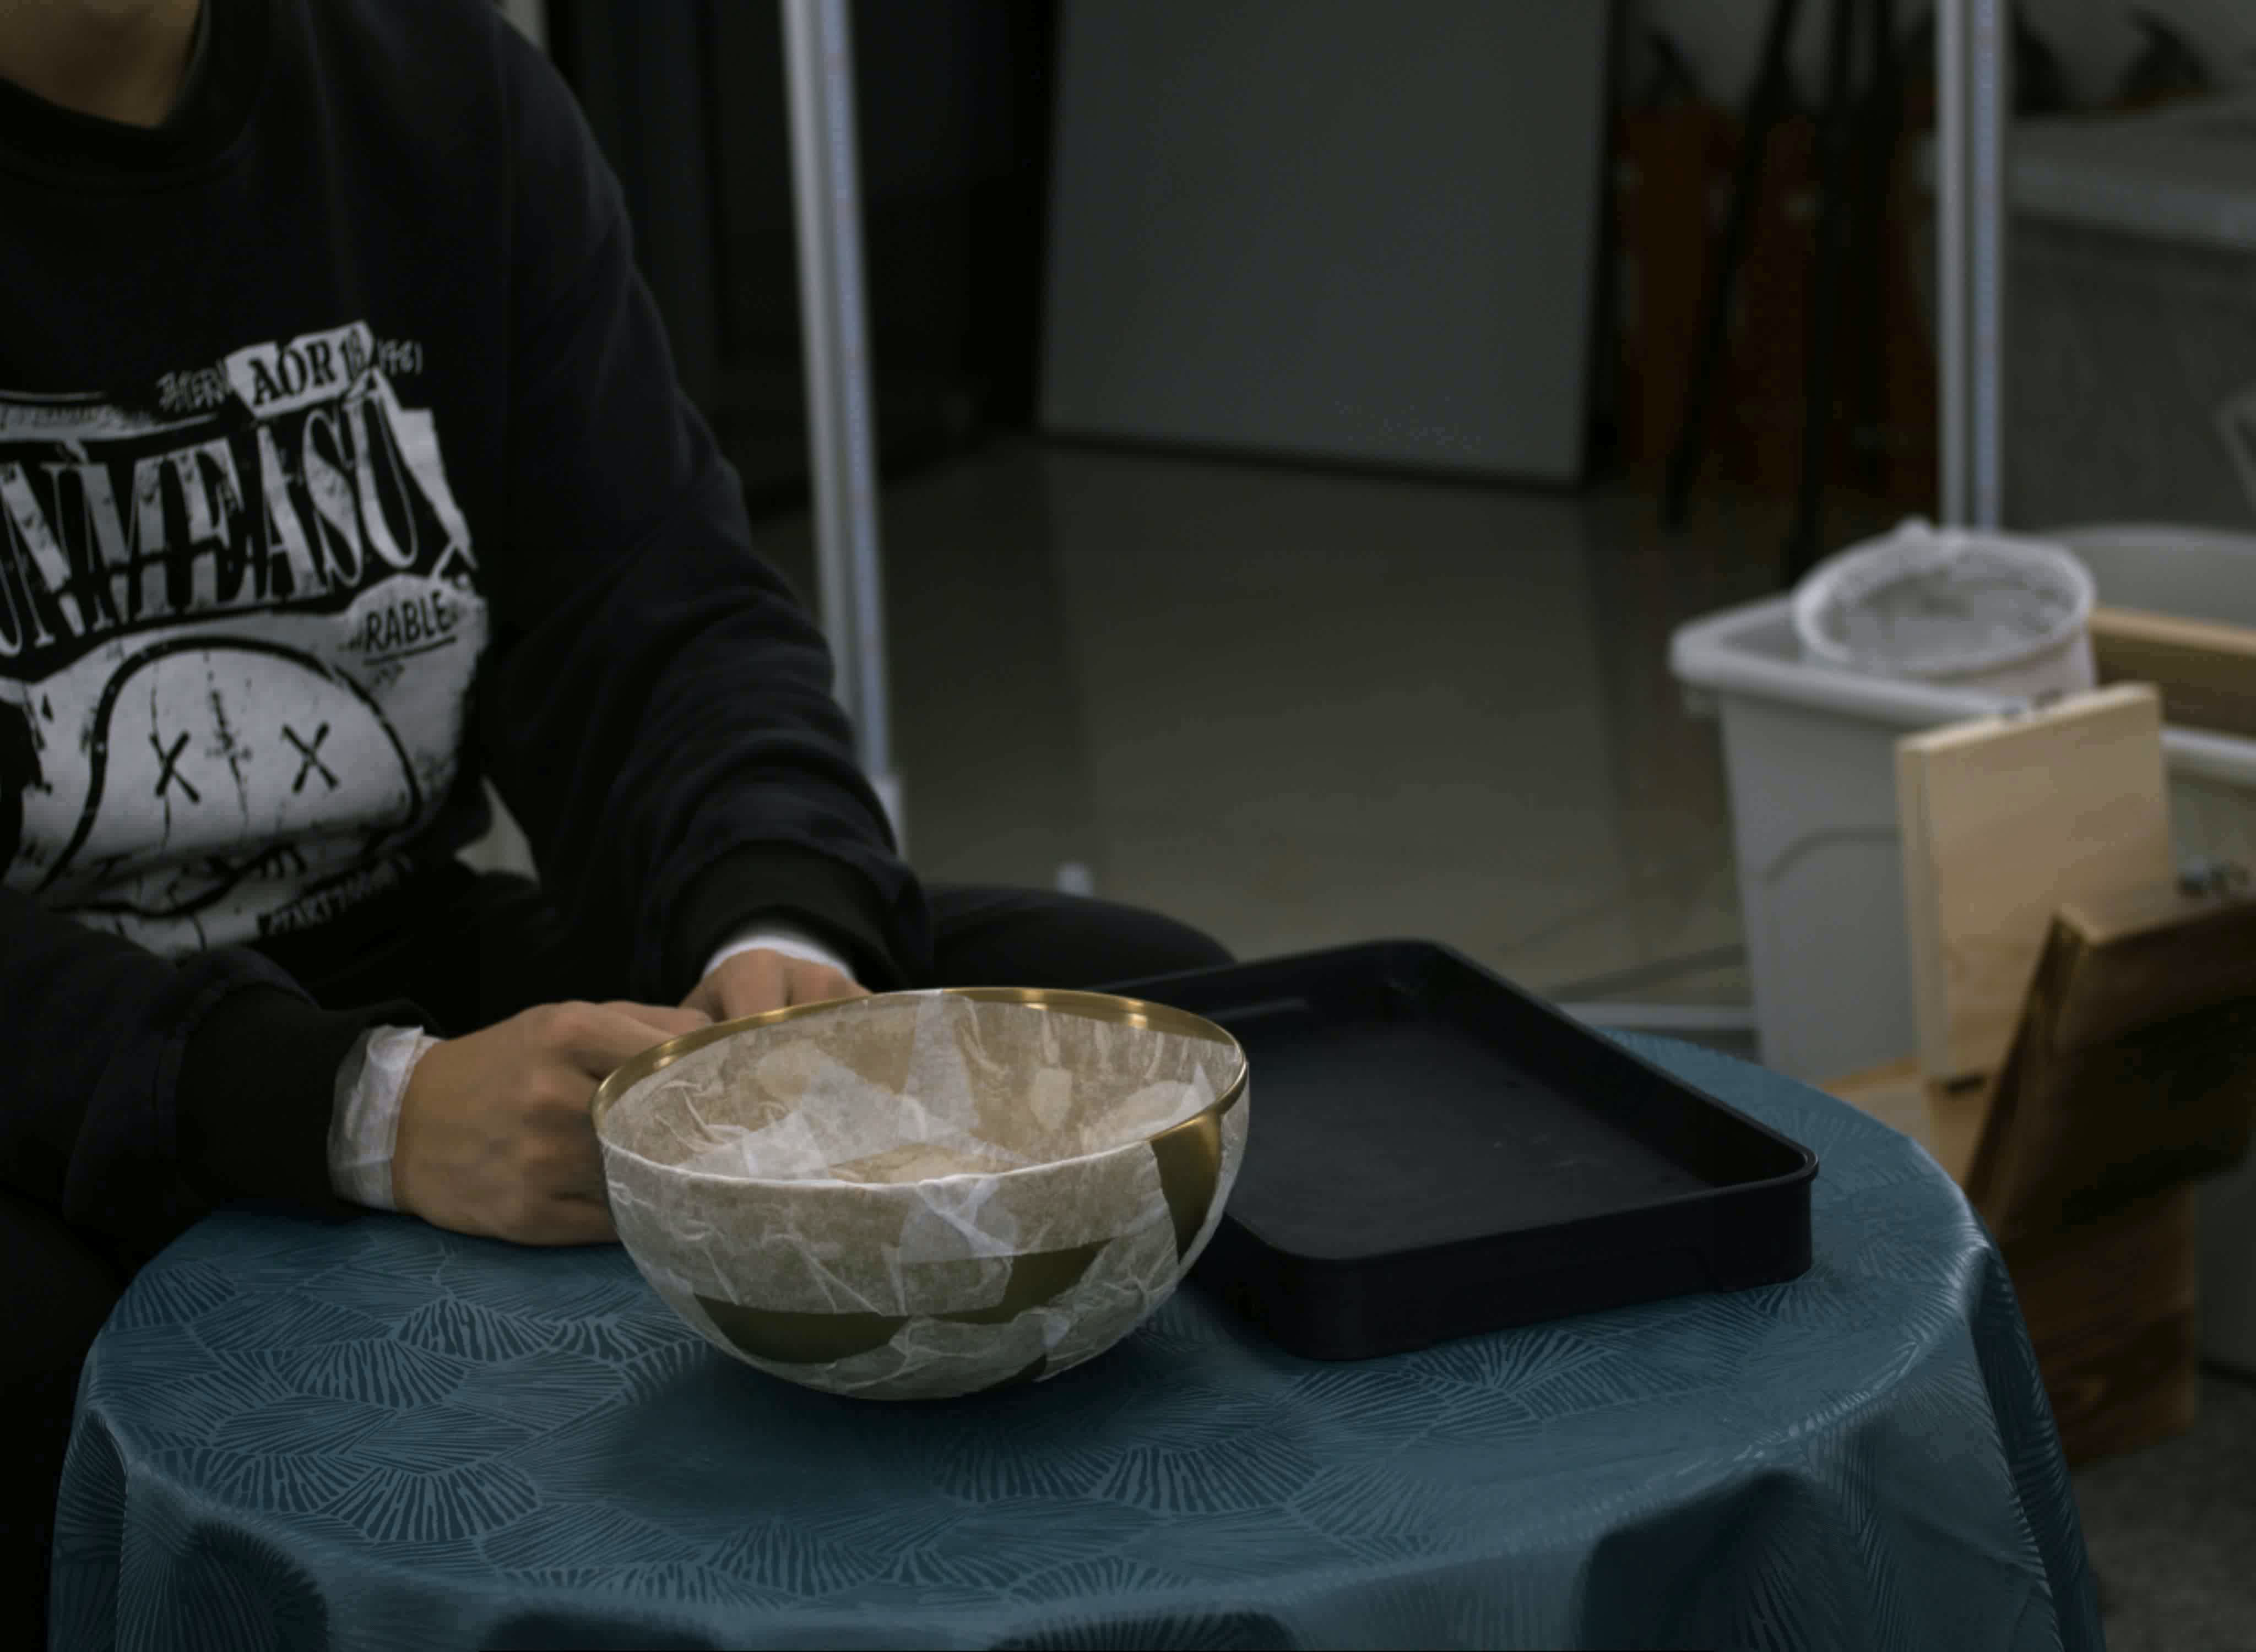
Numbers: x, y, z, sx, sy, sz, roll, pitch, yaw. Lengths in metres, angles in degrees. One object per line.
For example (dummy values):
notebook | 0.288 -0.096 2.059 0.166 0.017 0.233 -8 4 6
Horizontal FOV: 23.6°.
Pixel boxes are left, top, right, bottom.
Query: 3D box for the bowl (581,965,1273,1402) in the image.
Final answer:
bowl | -0.056 0.116 1.613 0.212 0.095 0.215 -6 14 0

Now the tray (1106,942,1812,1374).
tray | 0.079 0.103 1.757 0.180 0.037 0.321 -7 15 -18
